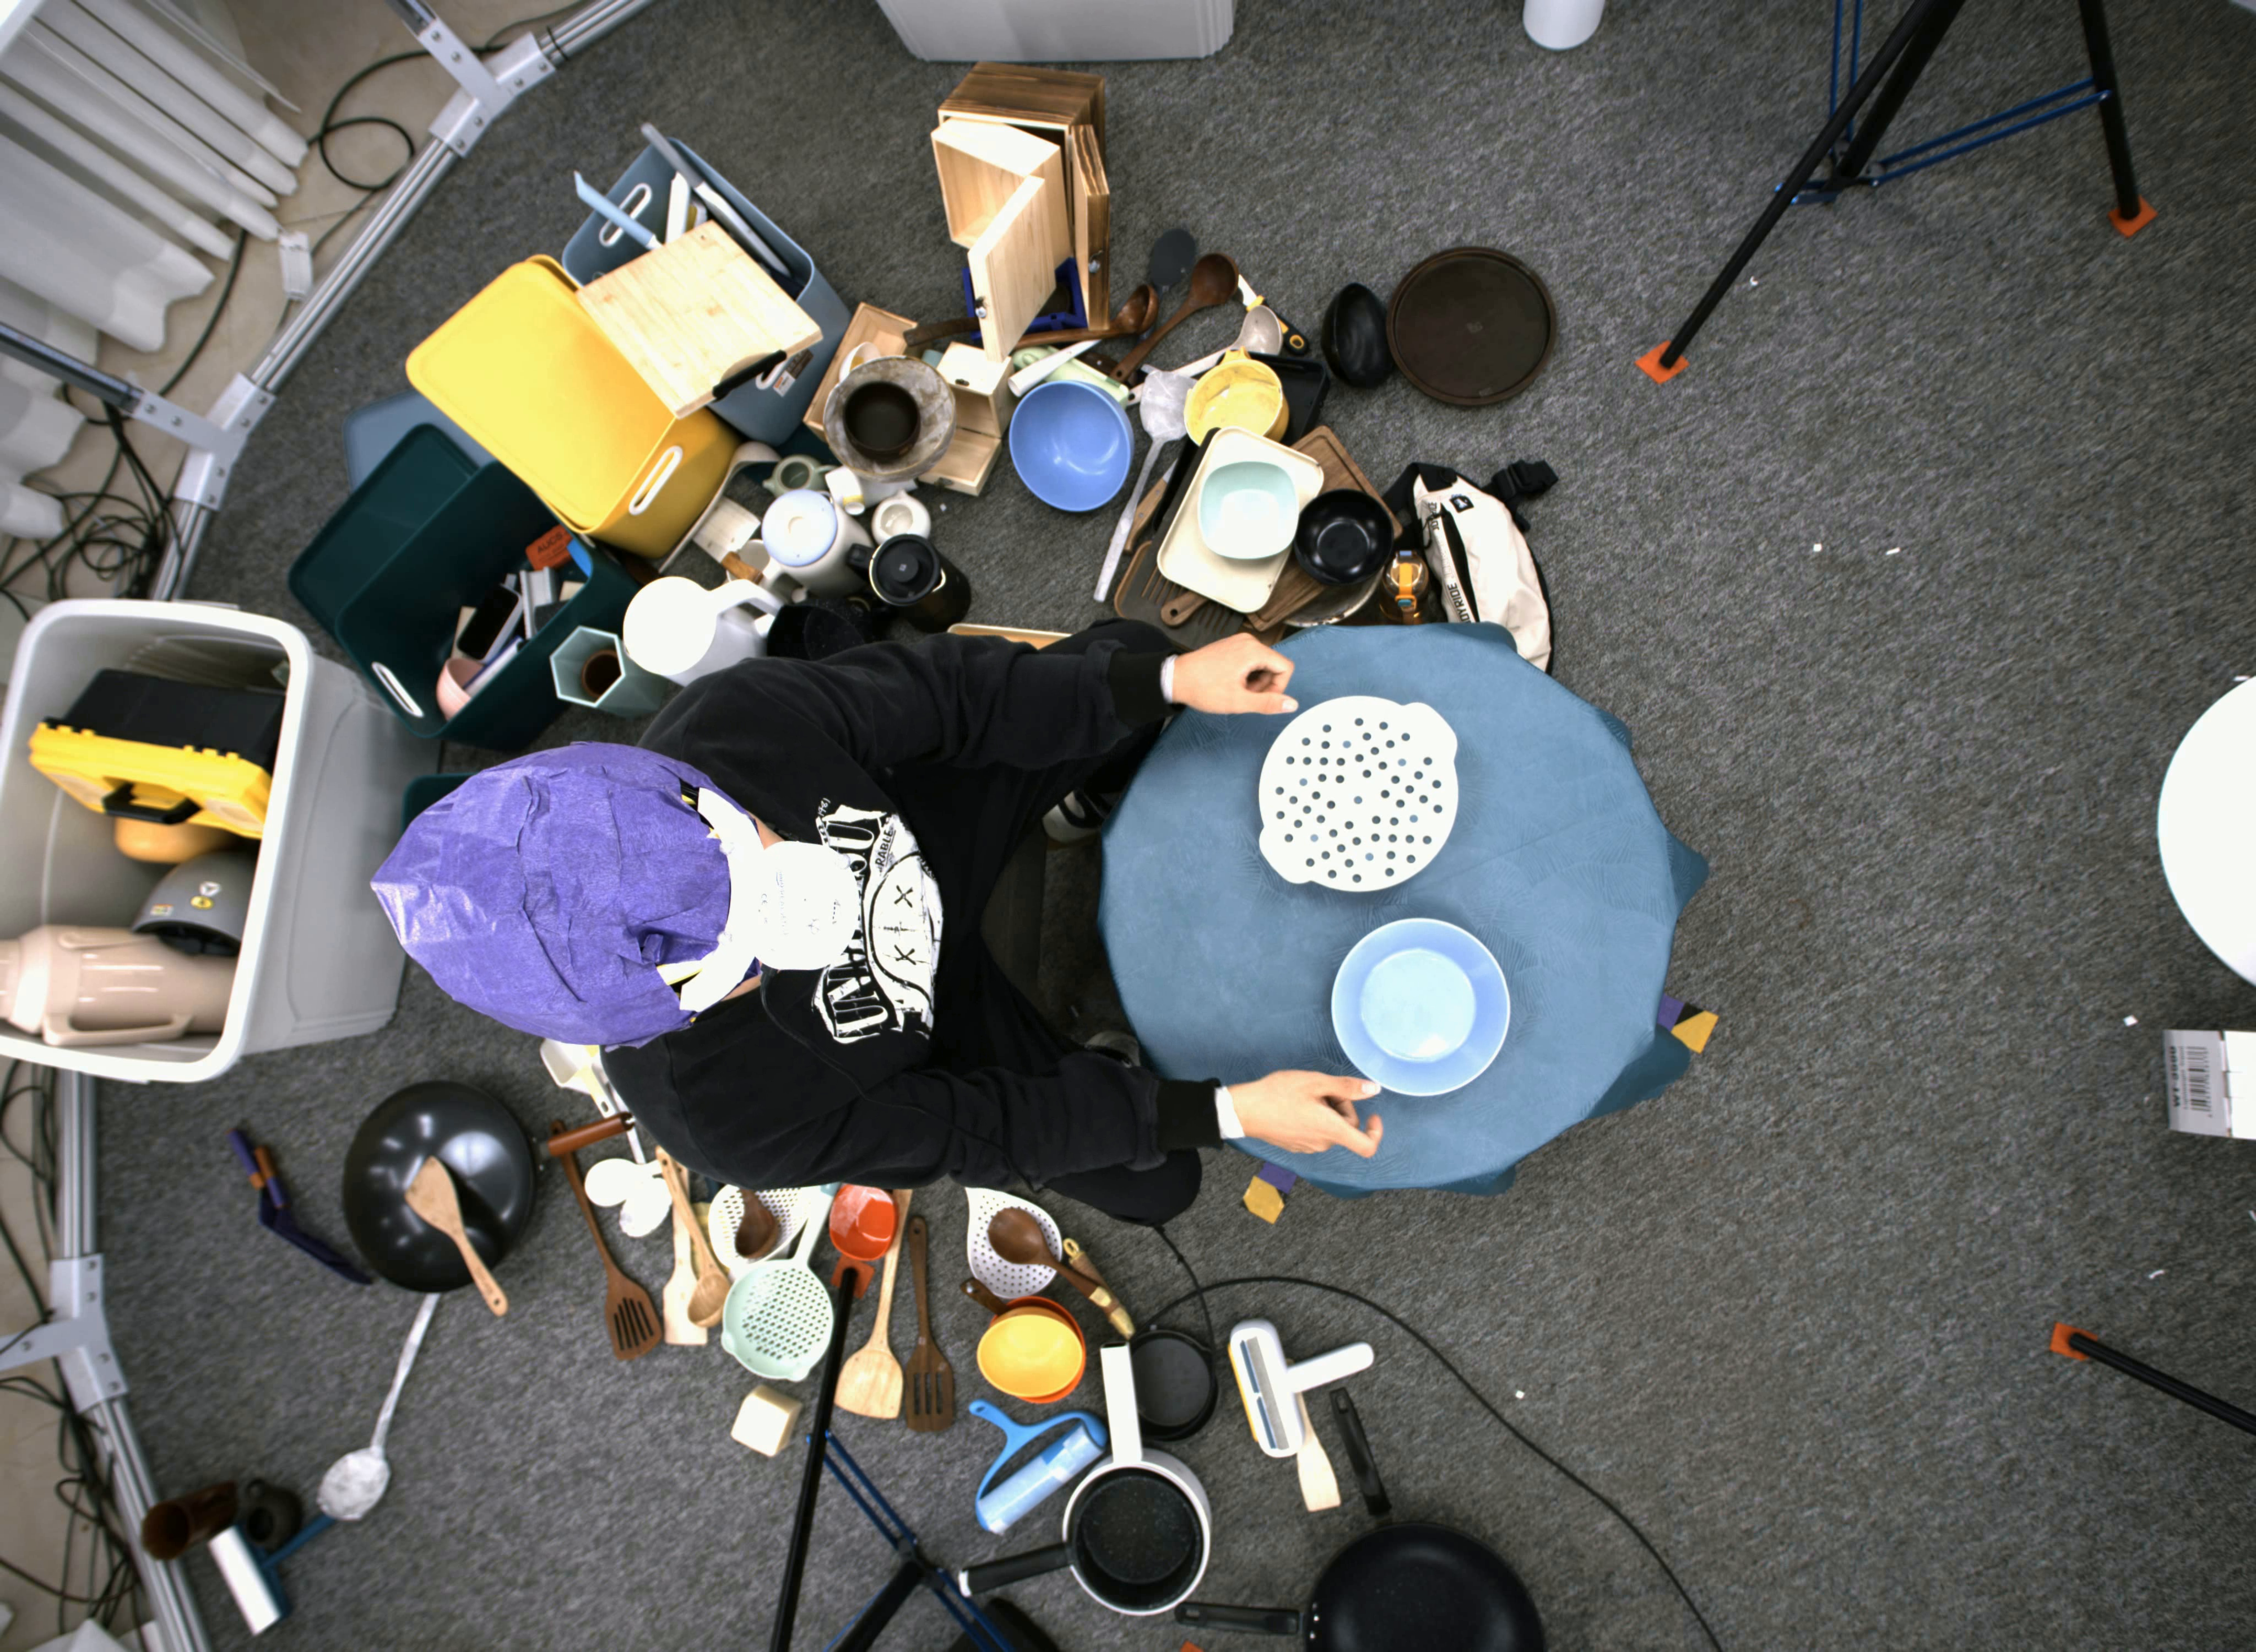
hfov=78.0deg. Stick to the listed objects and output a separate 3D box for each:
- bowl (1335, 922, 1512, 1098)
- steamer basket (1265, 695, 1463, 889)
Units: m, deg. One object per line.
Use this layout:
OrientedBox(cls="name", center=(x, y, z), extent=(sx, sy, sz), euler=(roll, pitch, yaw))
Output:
OrientedBox(cls="bowl", center=(0.301, 0.187, 1.415), extent=(0.177, 0.070, 0.175), euler=(-1, 84, 11))
OrientedBox(cls="steamer basket", center=(0.245, -0.033, 1.441), extent=(0.231, 0.069, 0.201), euler=(-41, 80, 3))
